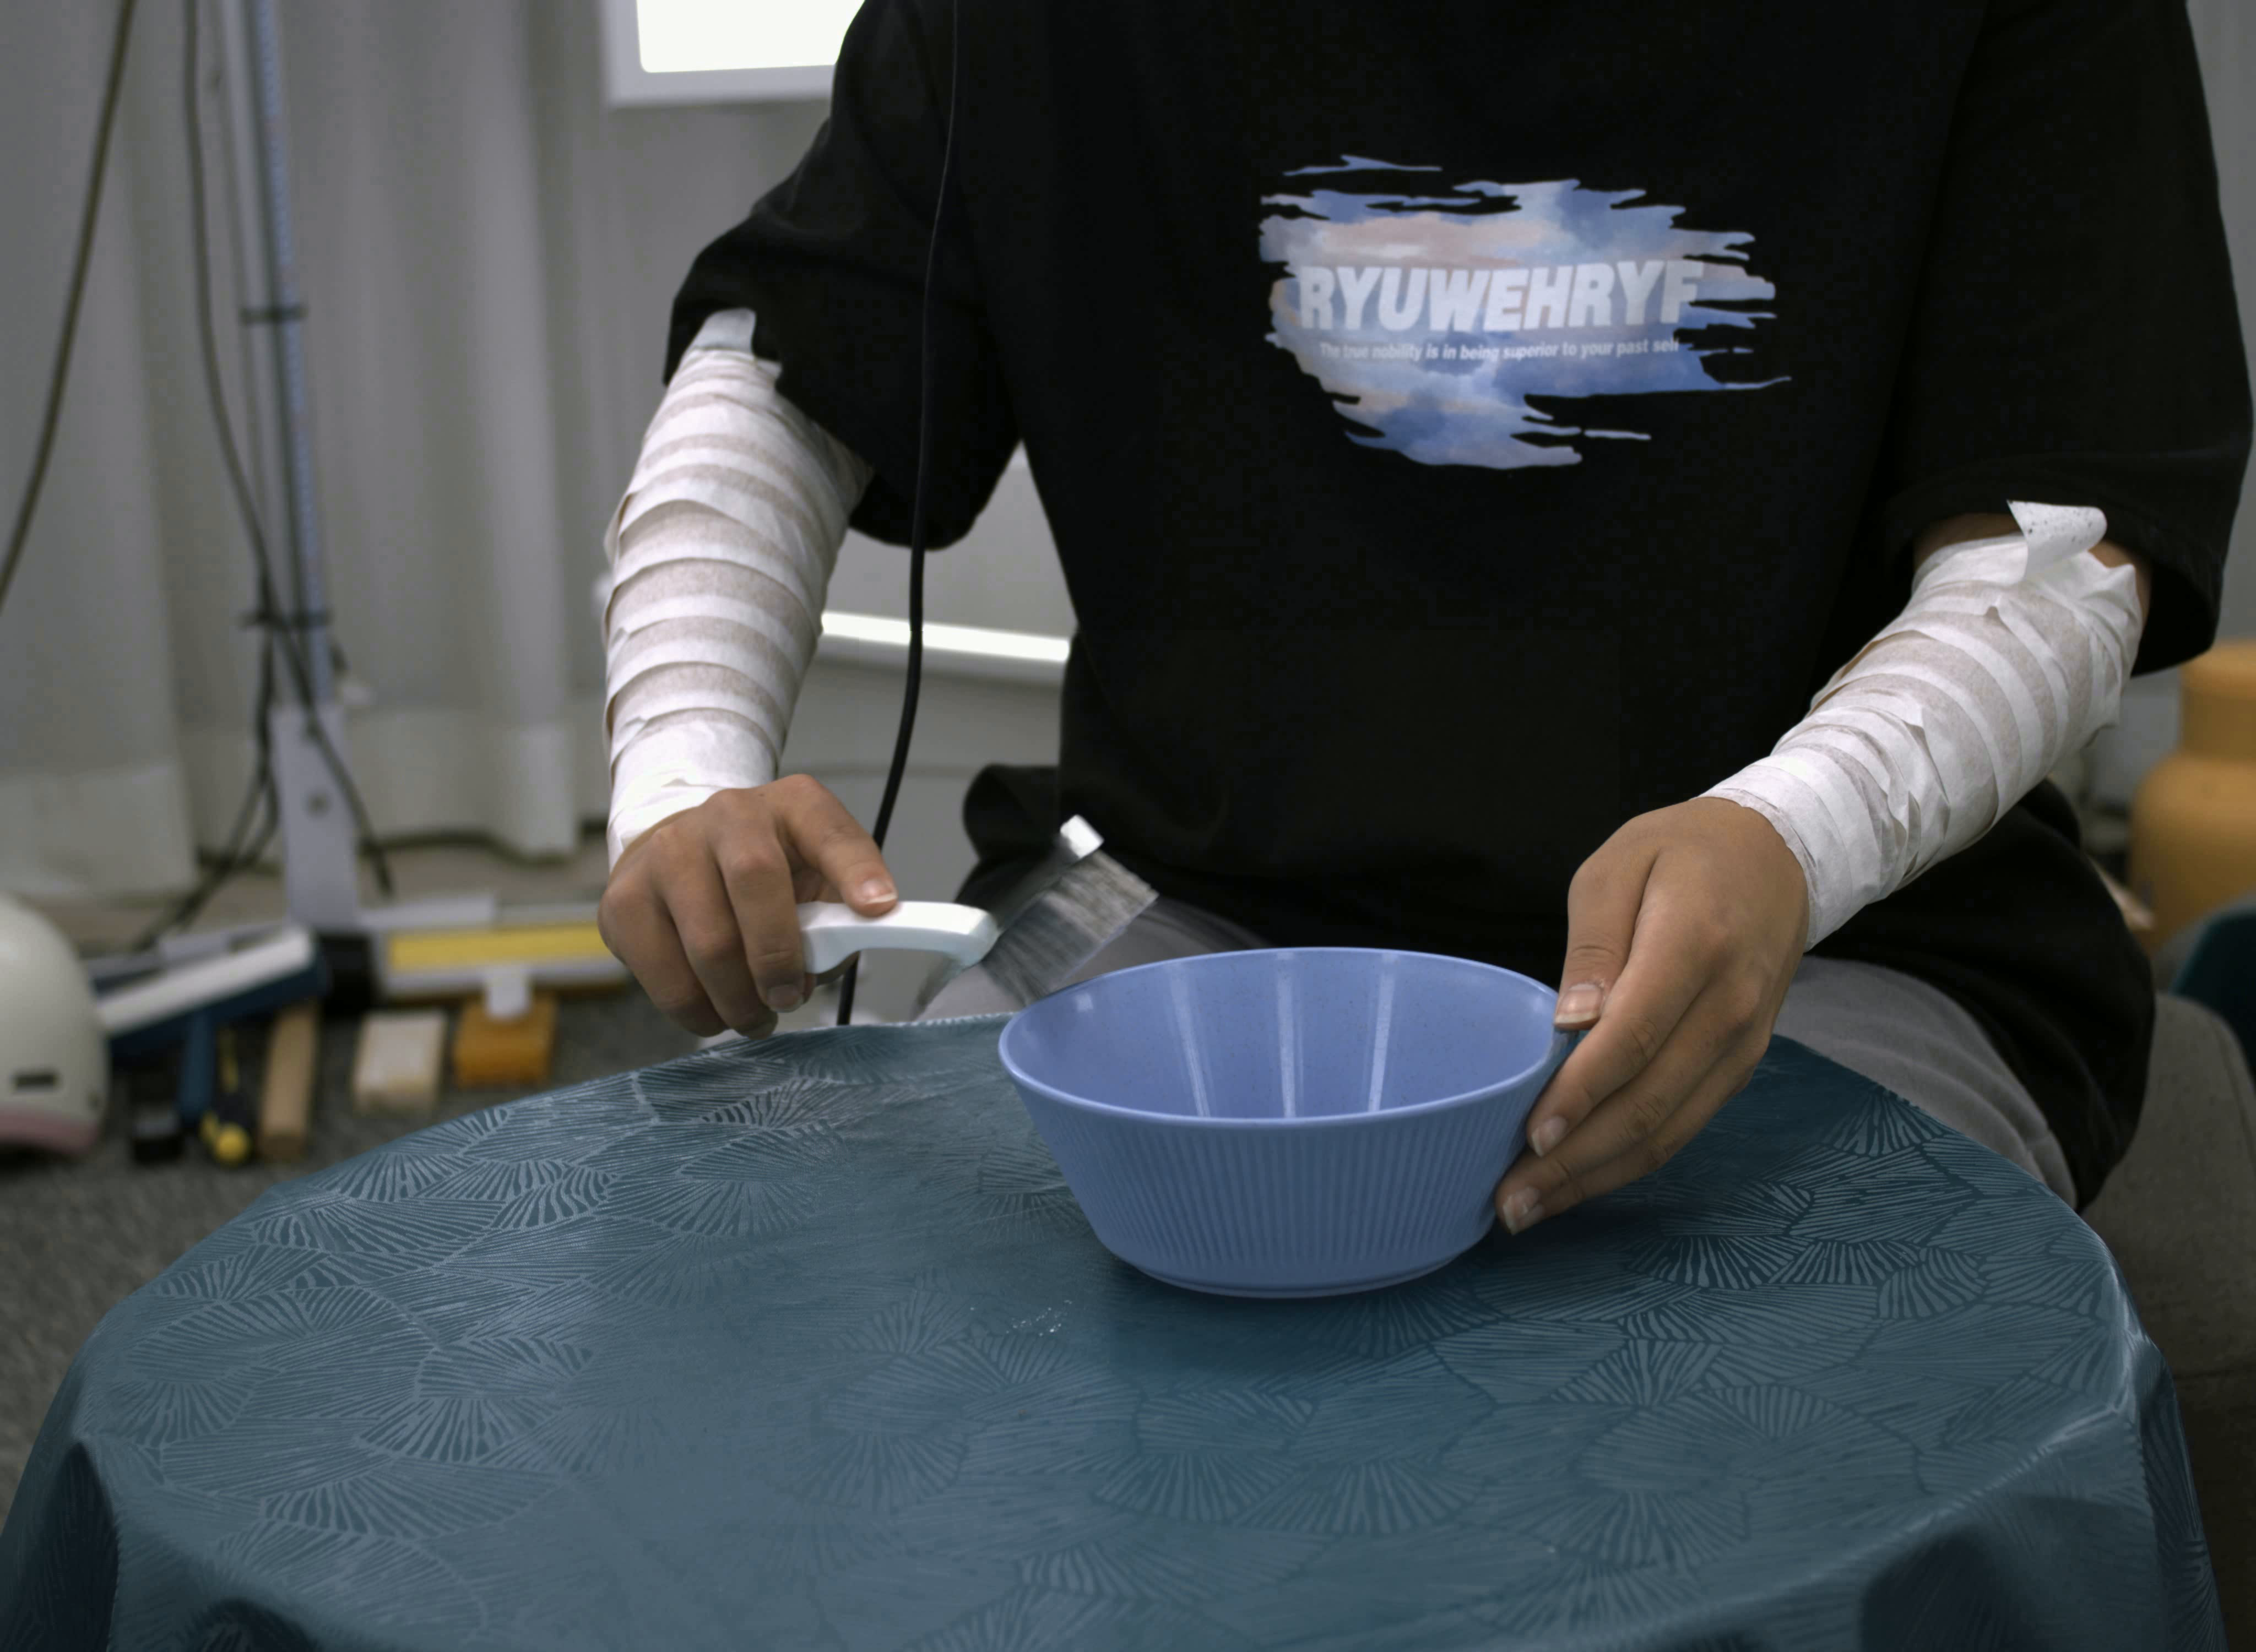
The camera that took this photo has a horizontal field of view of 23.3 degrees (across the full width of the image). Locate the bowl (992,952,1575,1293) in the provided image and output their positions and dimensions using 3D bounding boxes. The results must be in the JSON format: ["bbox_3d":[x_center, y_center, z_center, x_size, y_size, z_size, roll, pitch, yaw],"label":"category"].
[{"bbox_3d":[0.047,0.092,1.653,0.175,0.070,0.177,-2,14,0],"label":"bowl"}]

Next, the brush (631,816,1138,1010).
[{"bbox_3d":[-0.080,0.044,1.752,0.034,0.050,0.243,-42,15,-36],"label":"brush"}]
